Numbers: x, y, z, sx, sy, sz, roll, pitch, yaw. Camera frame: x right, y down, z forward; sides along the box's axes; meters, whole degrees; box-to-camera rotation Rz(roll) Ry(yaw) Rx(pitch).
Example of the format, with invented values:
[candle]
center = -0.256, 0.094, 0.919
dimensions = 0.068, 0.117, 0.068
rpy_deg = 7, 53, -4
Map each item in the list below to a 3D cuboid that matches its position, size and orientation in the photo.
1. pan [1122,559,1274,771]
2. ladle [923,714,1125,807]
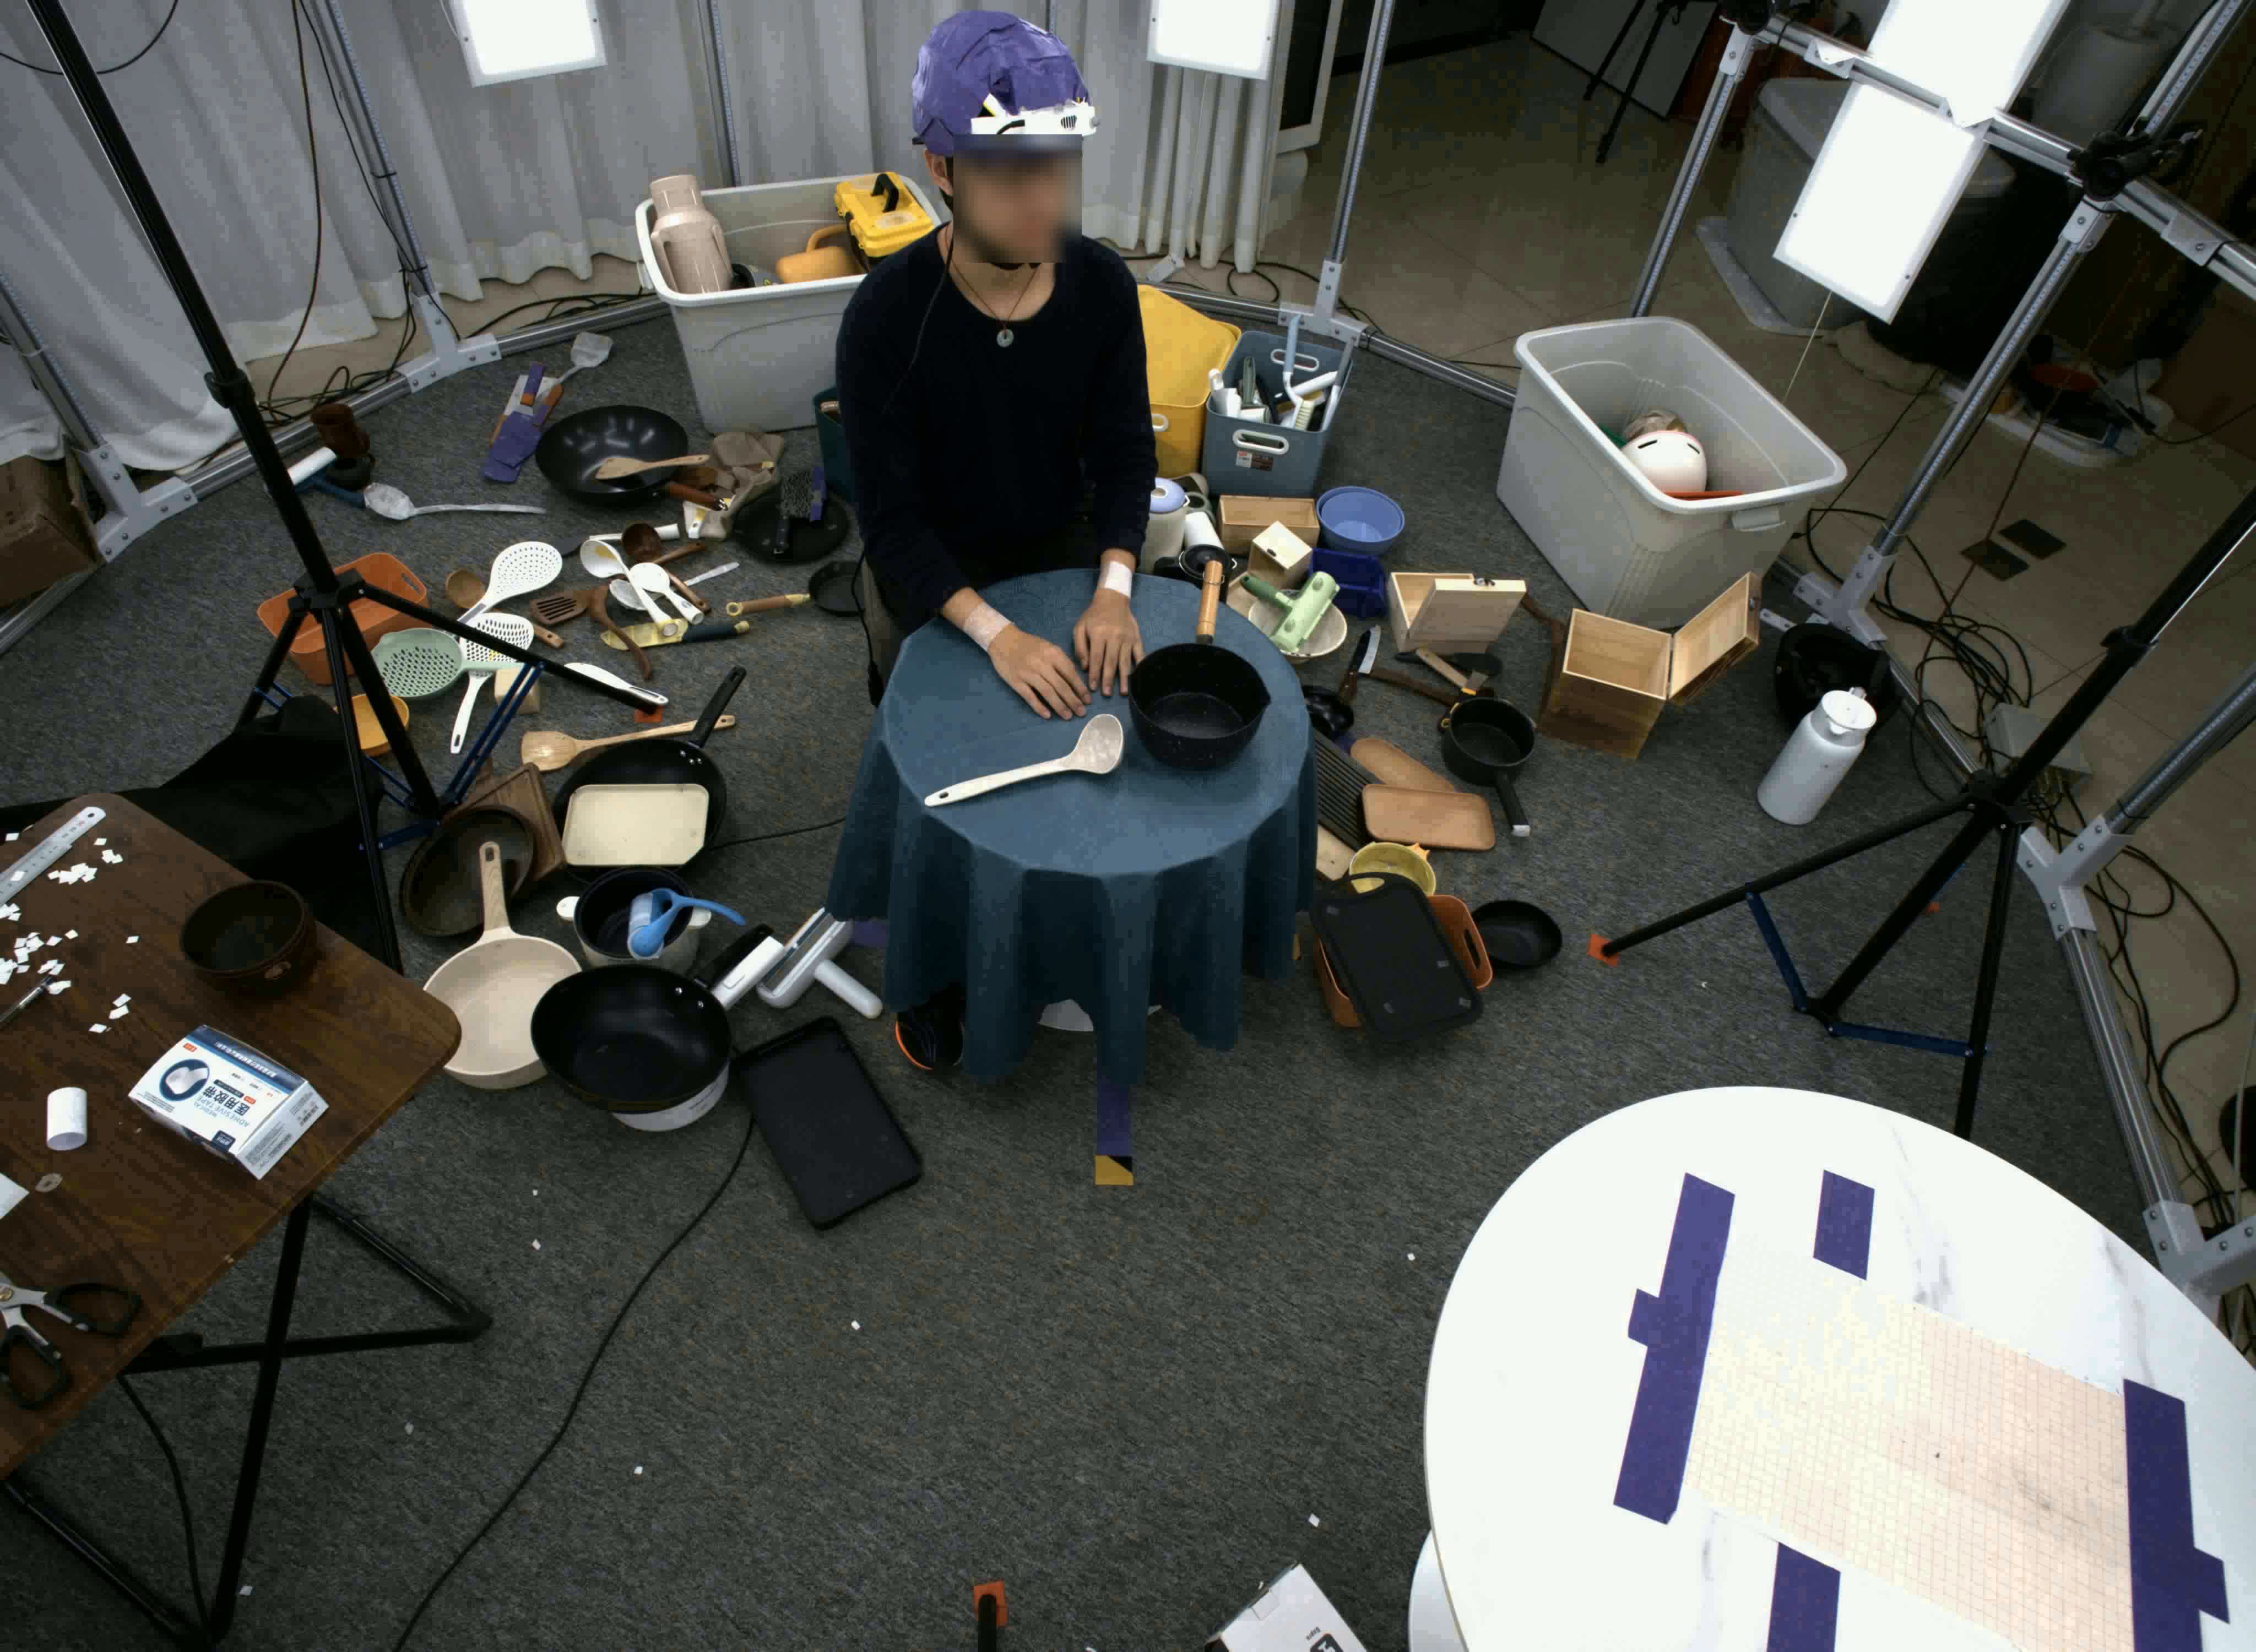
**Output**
[pan]
center = 0.101, -0.227, 1.802
dimensions = 0.207, 0.105, 0.351
rpy_deg = 6, 50, 3
[ladle]
center = -0.136, -0.083, 1.687
dimensions = 0.275, 0.068, 0.091
rpy_deg = -14, 55, -16
